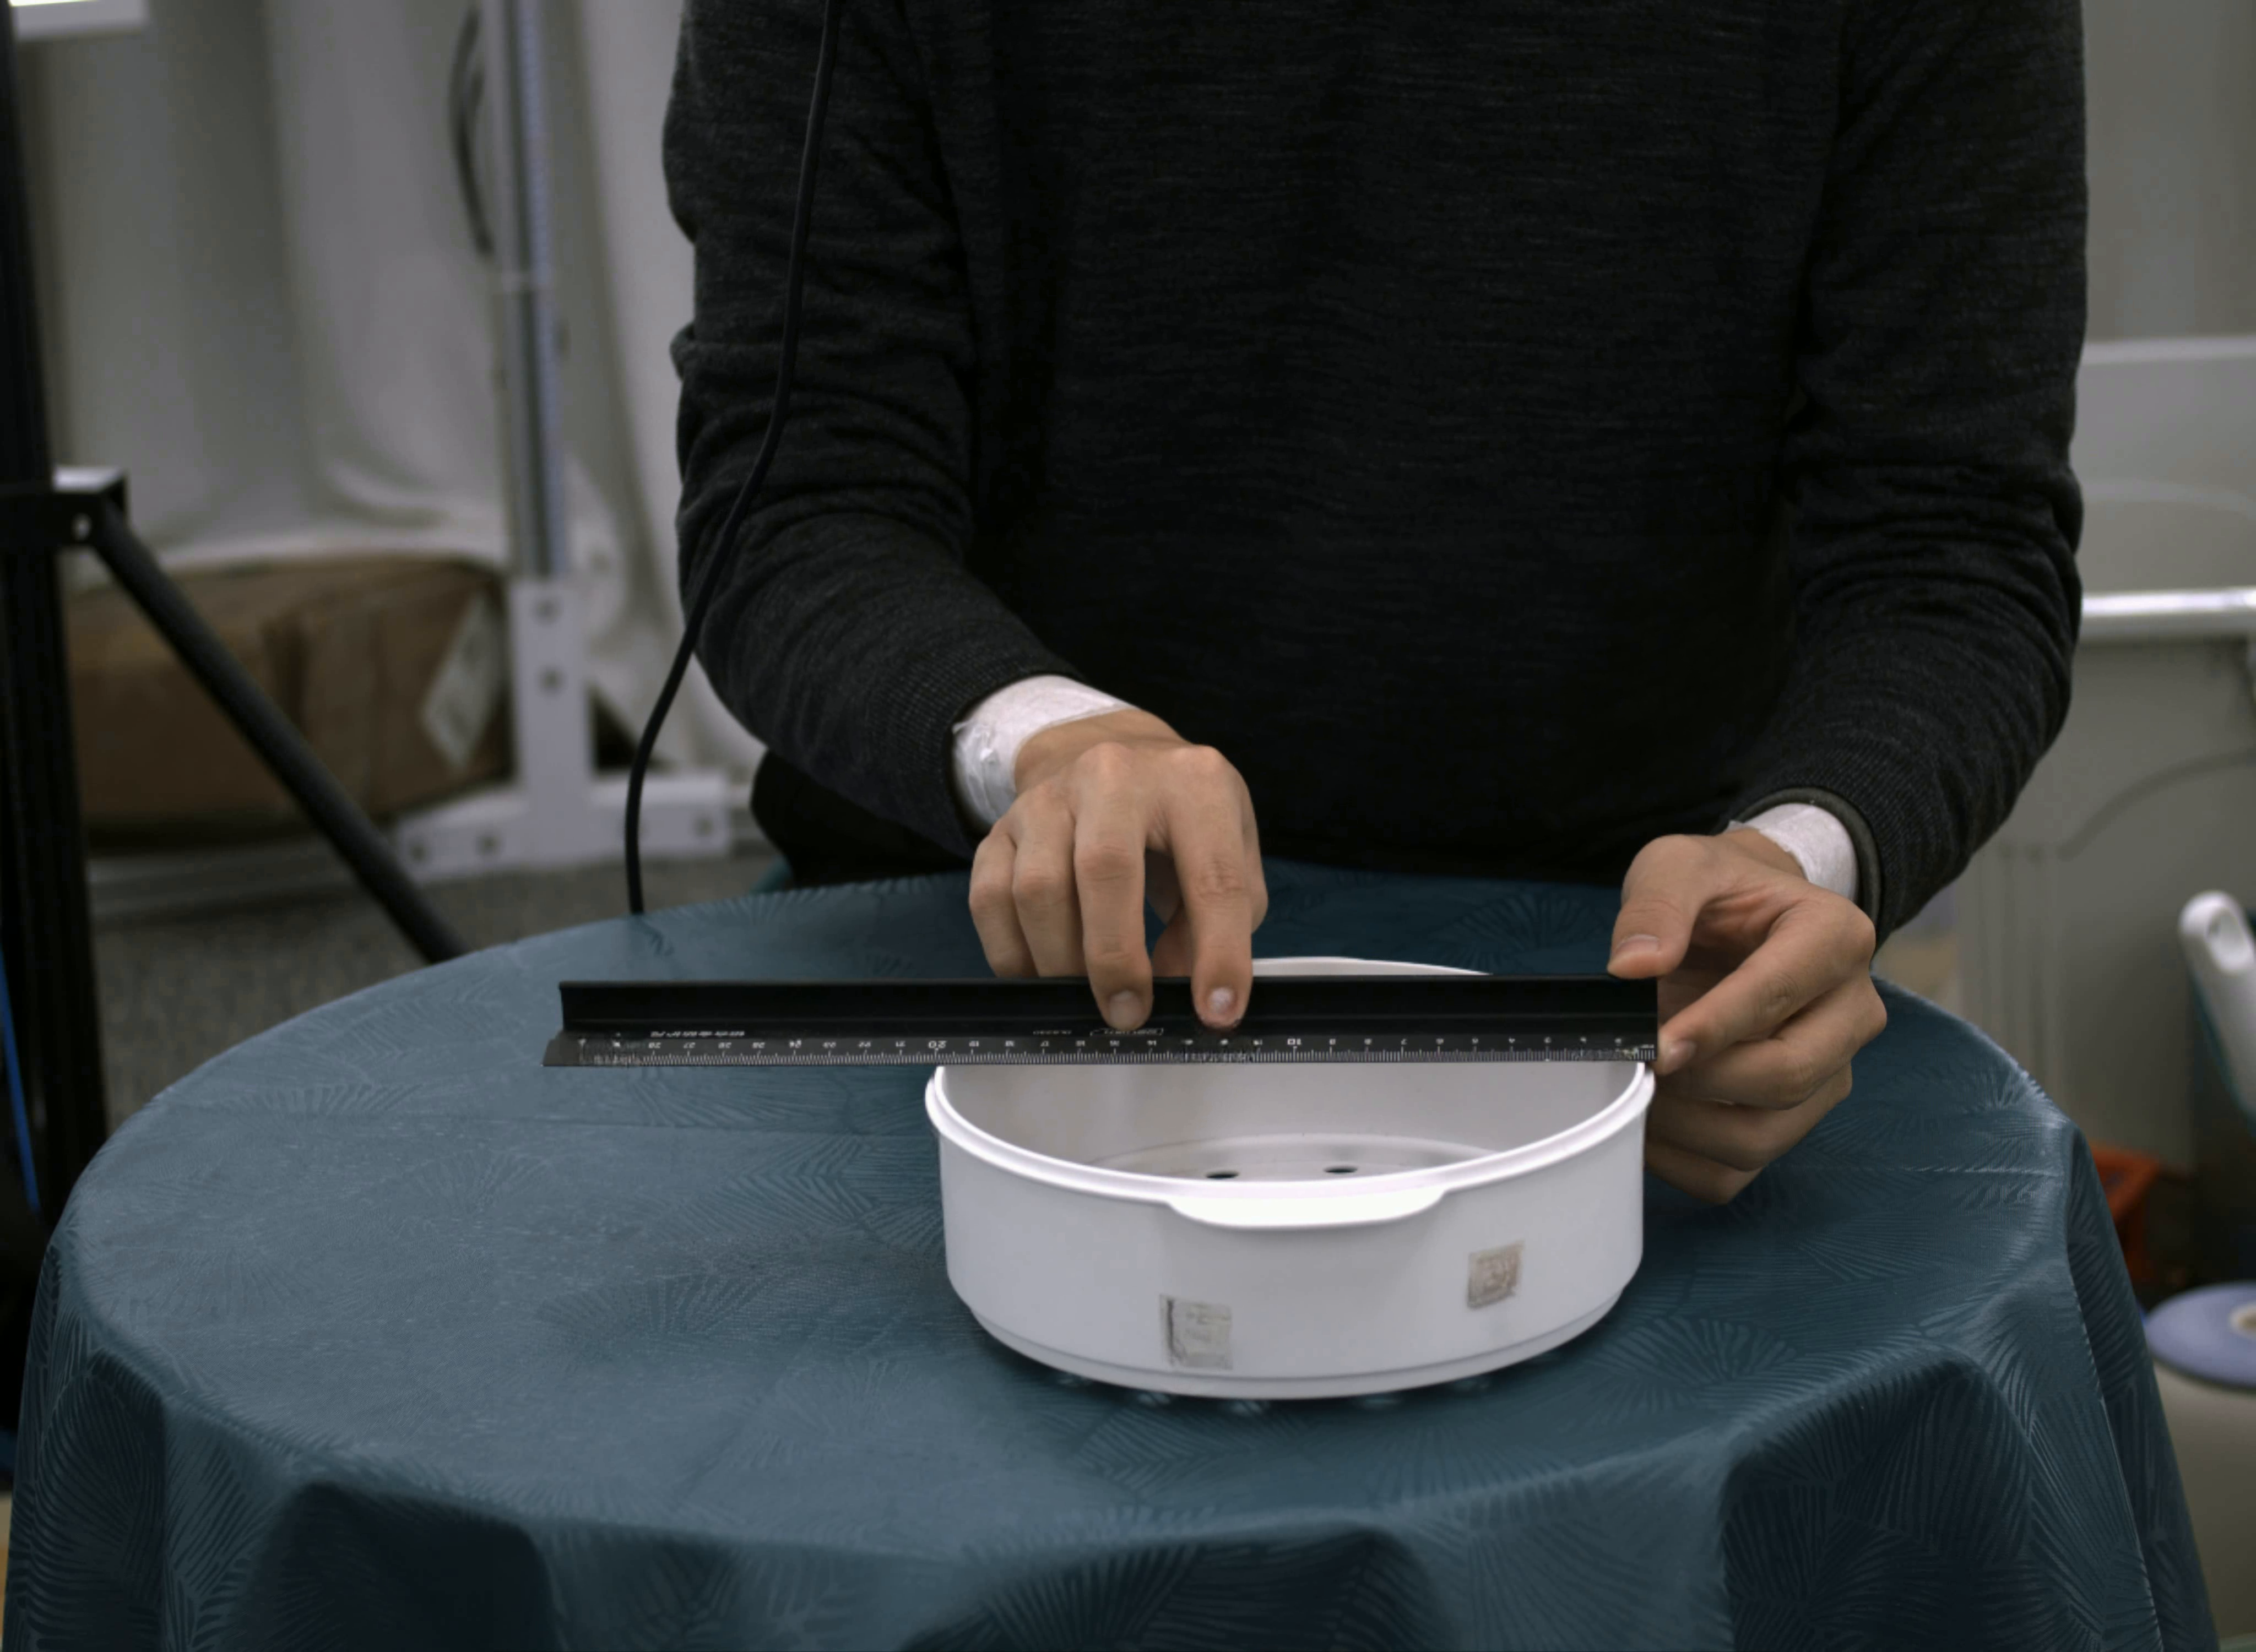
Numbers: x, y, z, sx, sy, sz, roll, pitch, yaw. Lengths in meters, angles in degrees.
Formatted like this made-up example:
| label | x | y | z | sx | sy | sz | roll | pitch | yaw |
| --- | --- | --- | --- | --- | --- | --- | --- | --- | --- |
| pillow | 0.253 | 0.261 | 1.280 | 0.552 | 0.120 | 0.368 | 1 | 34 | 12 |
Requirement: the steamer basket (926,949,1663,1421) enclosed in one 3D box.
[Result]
| label | x | y | z | sx | sy | sz | roll | pitch | yaw |
| --- | --- | --- | --- | --- | --- | --- | --- | --- | --- |
| steamer basket | 0.046 | 0.098 | 1.458 | 0.201 | 0.069 | 0.232 | -2 | 18 | 0 |

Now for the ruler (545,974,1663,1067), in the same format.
| label | x | y | z | sx | sy | sz | roll | pitch | yaw |
| --- | --- | --- | --- | --- | --- | --- | --- | --- | --- |
| ruler | -0.007 | 0.054 | 1.477 | 0.313 | 0.017 | 0.039 | 0 | 20 | 8 |
